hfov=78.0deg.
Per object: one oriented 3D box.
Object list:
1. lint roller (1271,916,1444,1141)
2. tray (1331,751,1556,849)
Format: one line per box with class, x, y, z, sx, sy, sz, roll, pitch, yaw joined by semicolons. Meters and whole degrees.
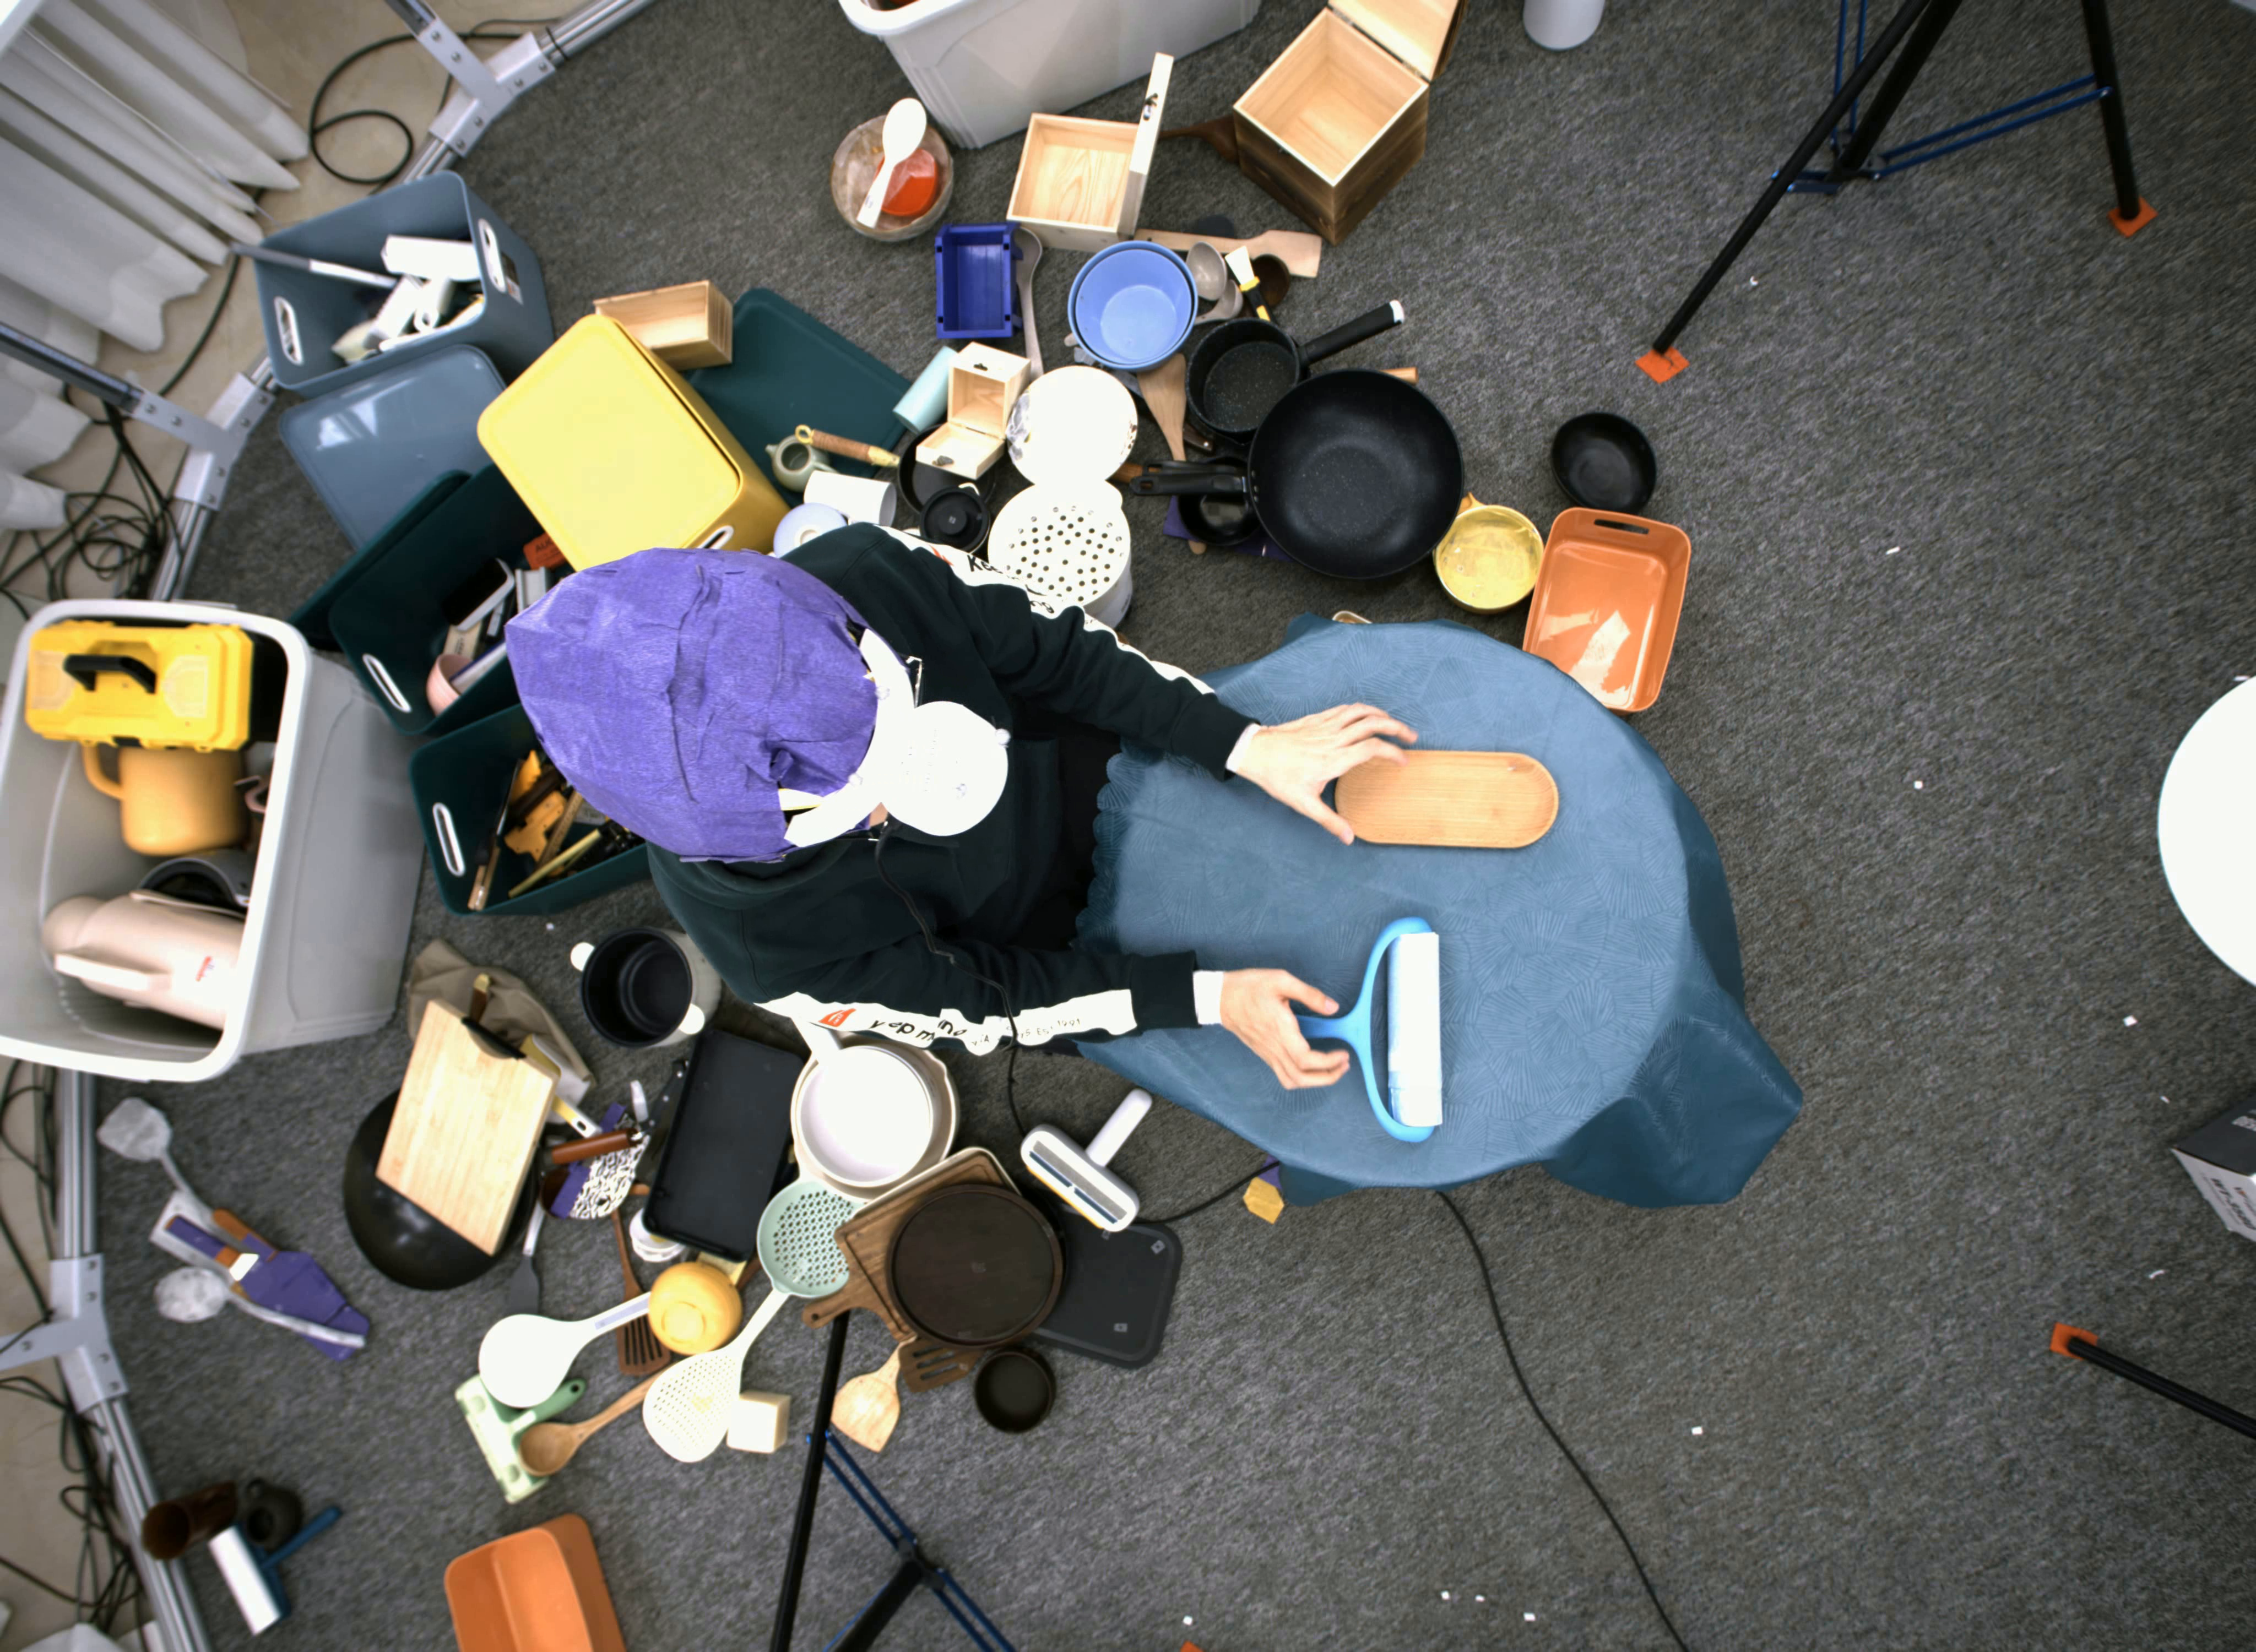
lint roller;0.236;0.209;1.426;0.181;0.068;0.228;-3;88;9
tray;0.329;-0.029;1.442;0.232;0.020;0.101;1;86;12
